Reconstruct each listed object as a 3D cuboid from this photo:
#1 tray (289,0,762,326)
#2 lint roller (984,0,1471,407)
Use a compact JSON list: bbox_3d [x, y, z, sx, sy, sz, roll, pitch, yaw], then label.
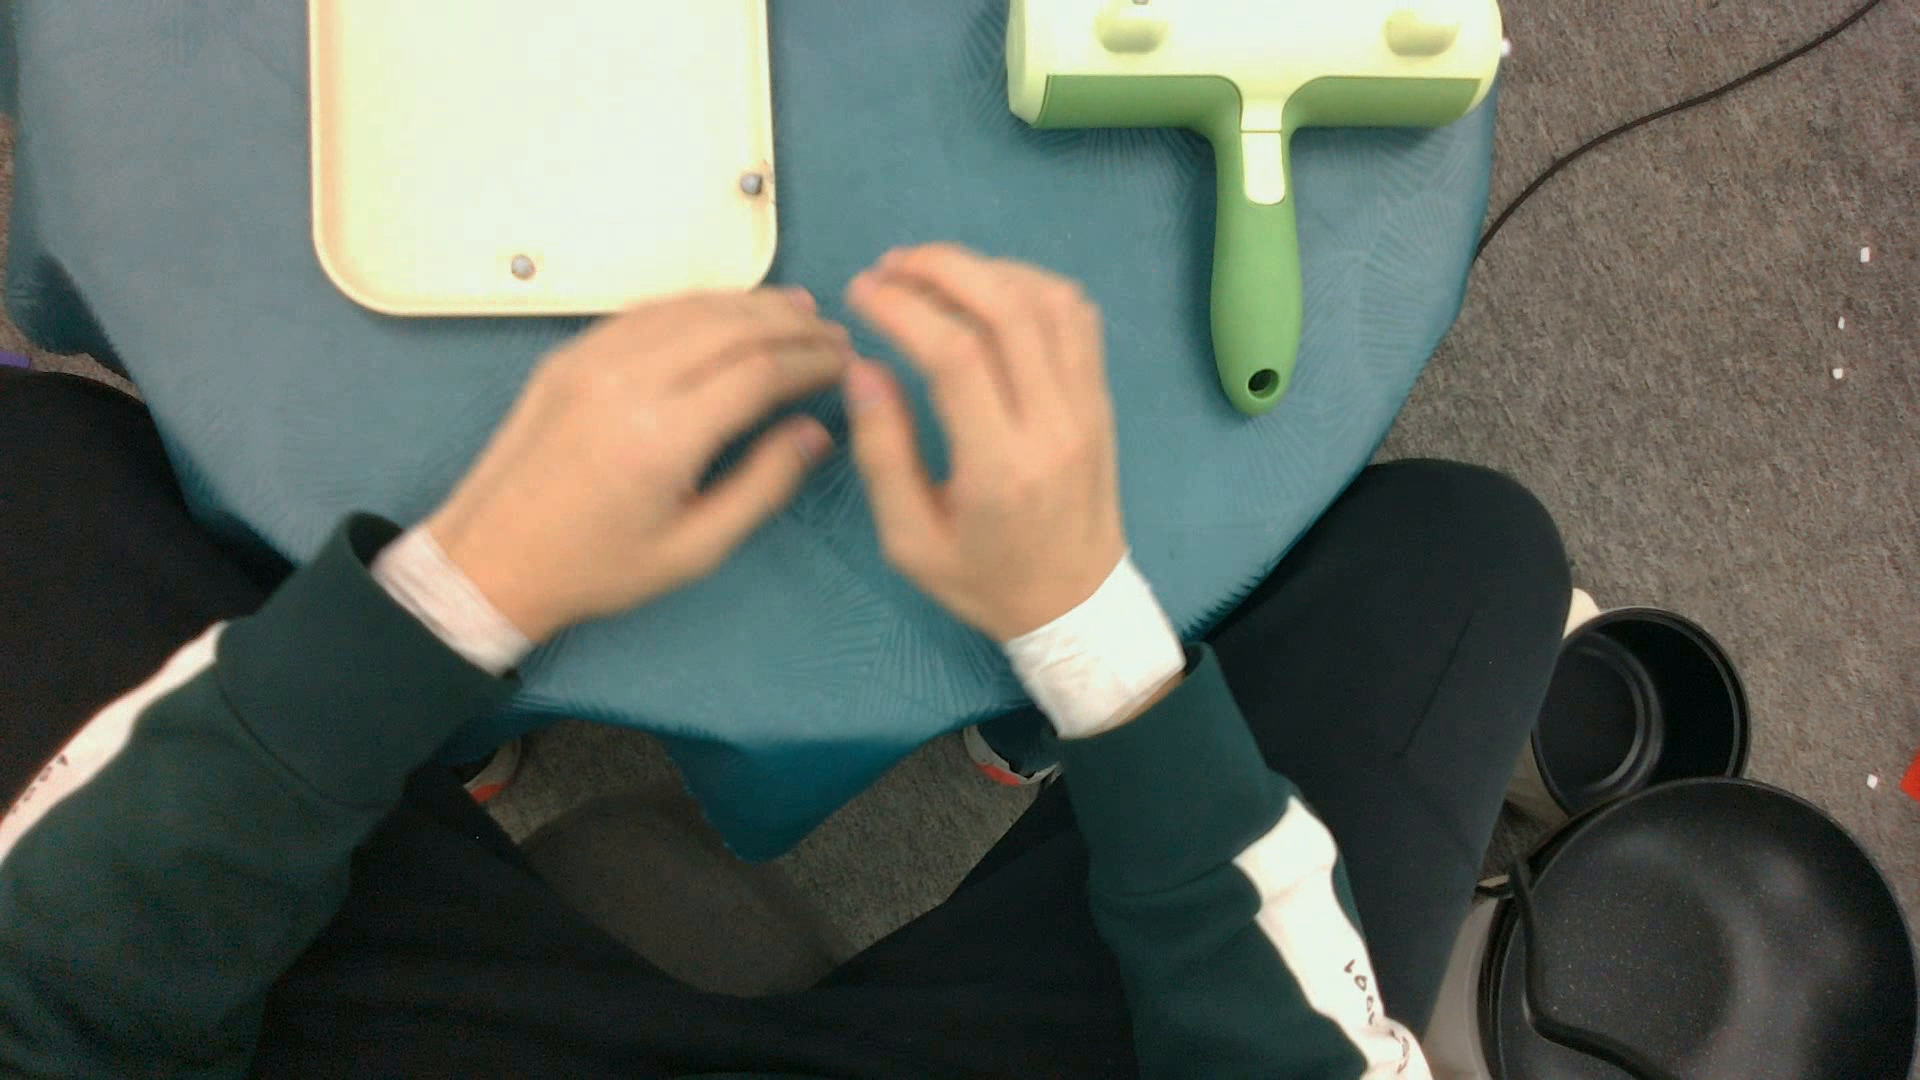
[{"bbox_3d":[-0.170,-0.203,0.537,0.171,0.017,0.240,-4,87,-9],"label":"tray"},{"bbox_3d":[0.115,-0.150,0.551,0.199,0.082,0.183,-3,83,-10],"label":"lint roller"}]
